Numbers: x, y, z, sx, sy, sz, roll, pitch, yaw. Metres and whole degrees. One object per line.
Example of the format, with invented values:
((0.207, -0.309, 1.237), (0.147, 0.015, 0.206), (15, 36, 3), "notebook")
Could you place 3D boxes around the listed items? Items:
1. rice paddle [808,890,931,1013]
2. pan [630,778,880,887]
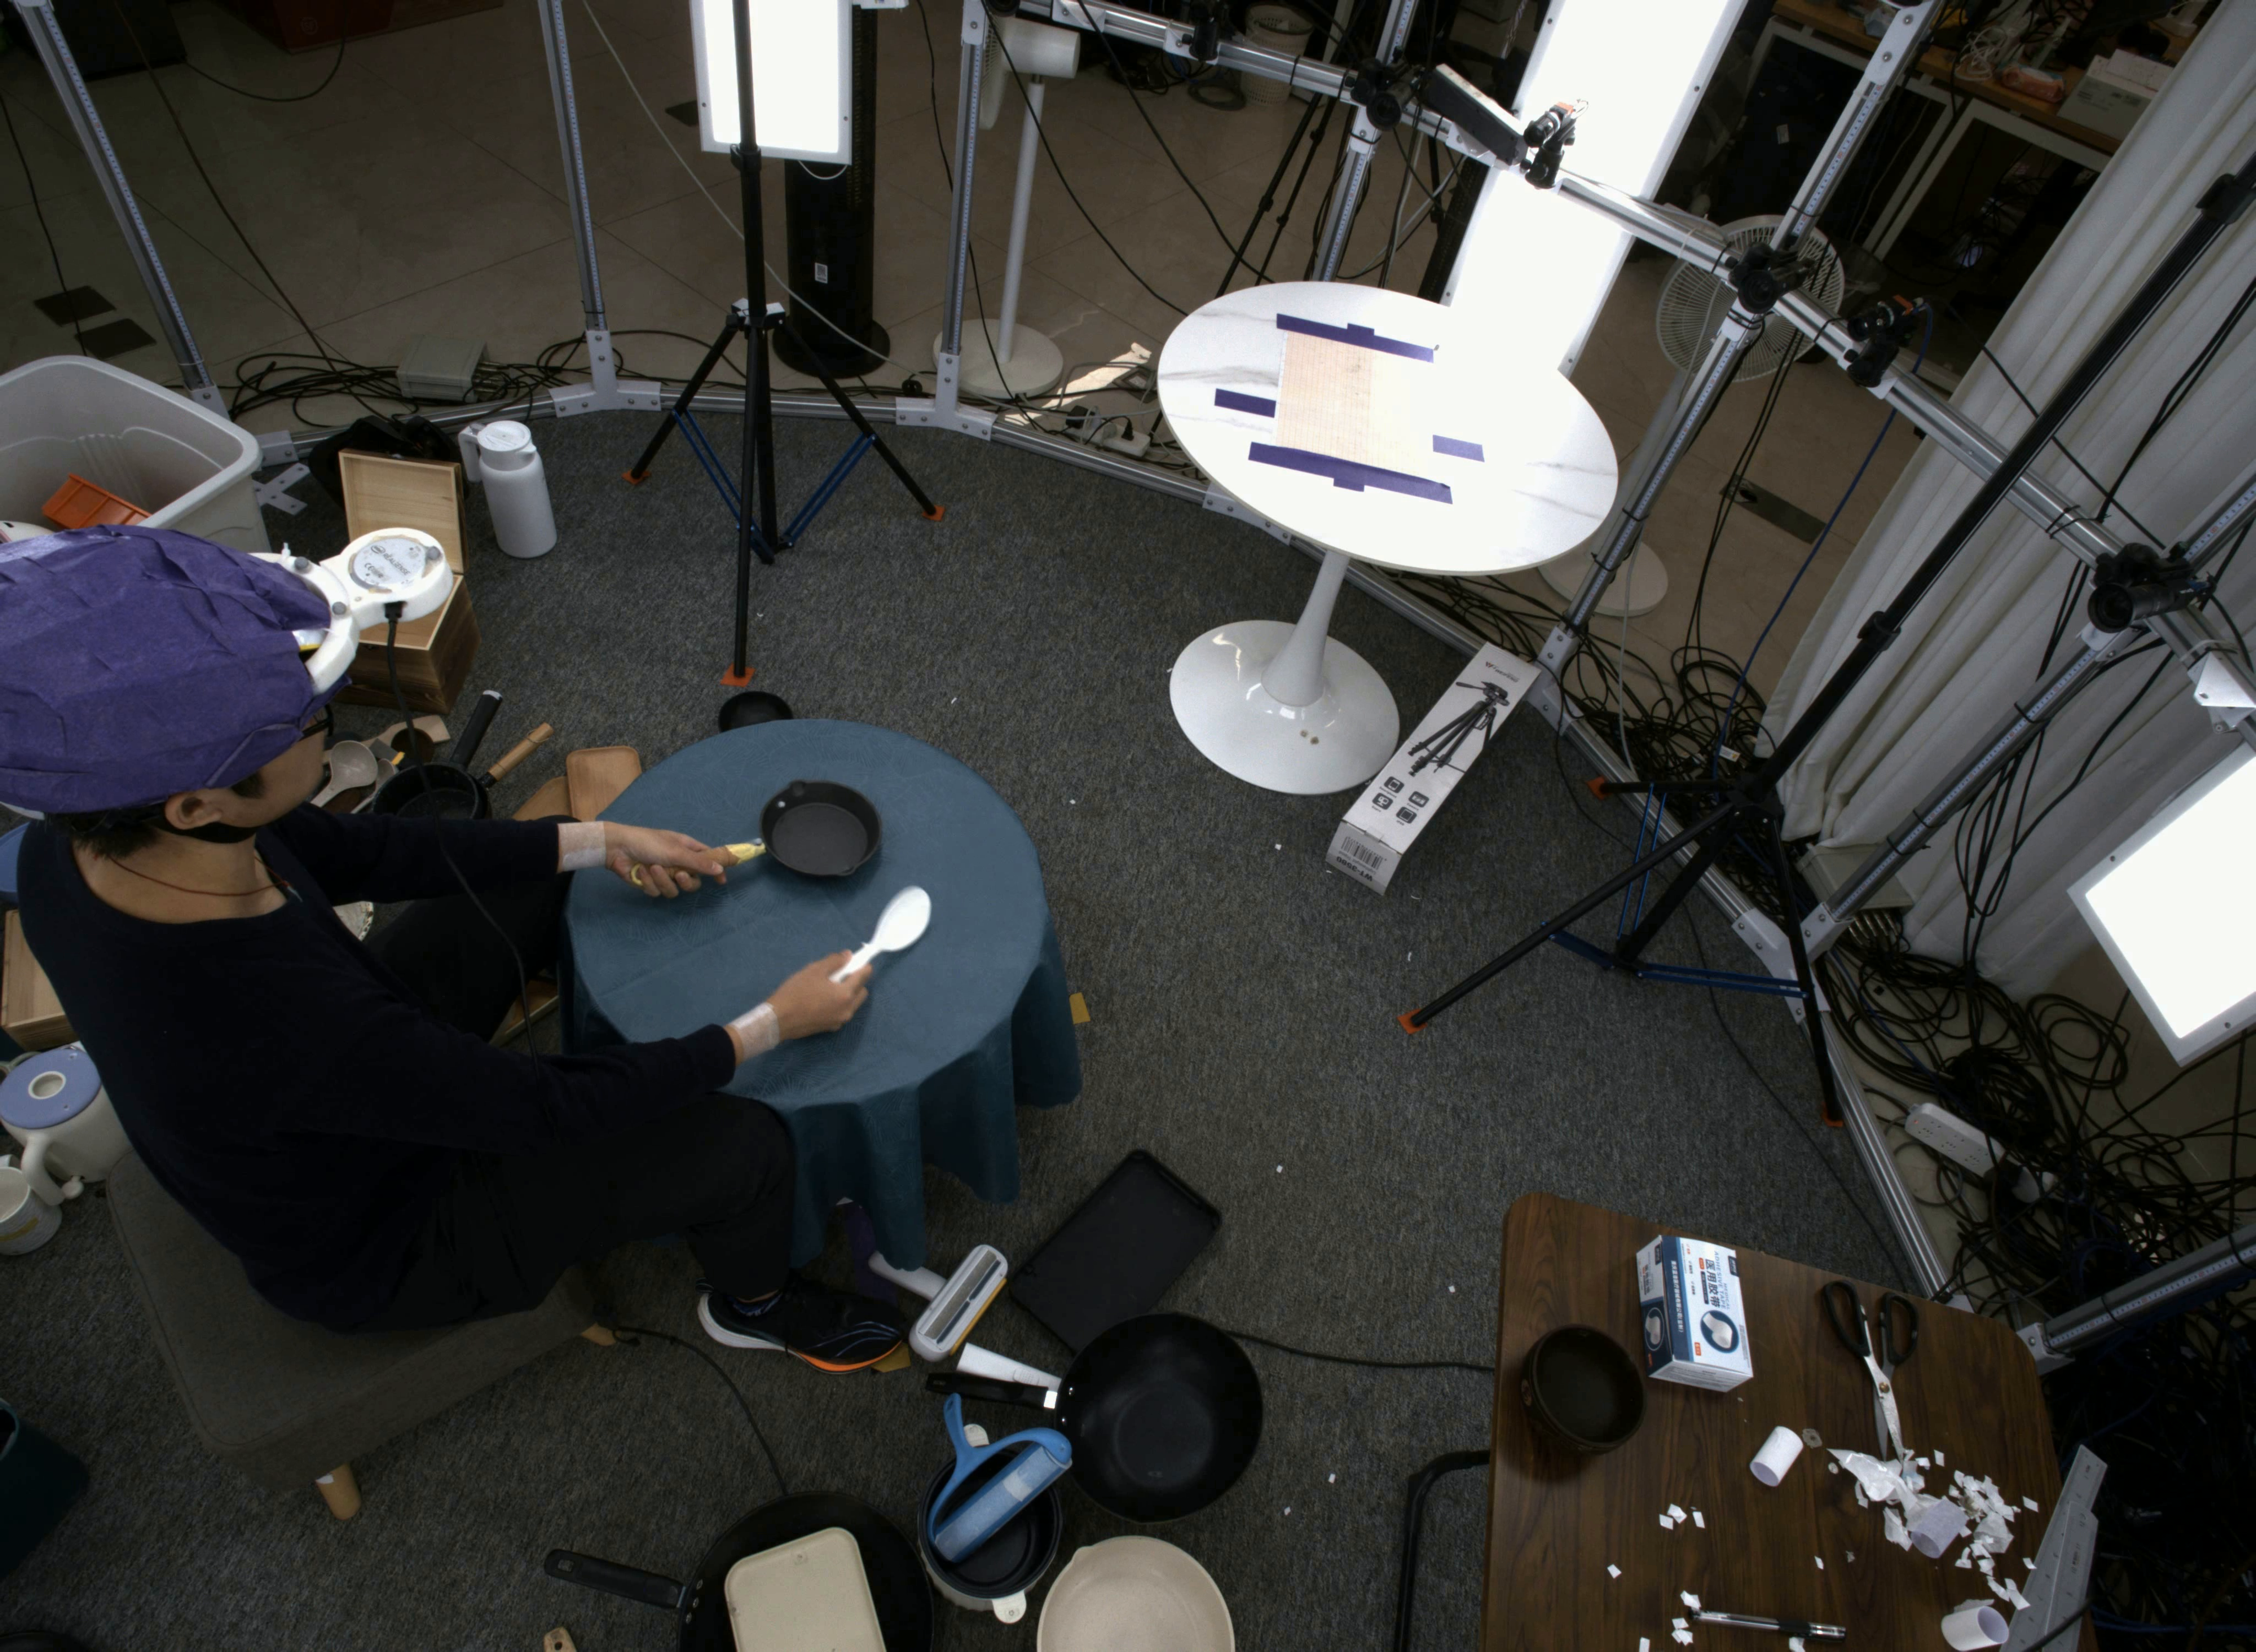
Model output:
((-0.305, 0.148, 1.580), (0.028, 0.071, 0.205), (16, 43, 32), "rice paddle")
((-0.470, 0.025, 1.638), (0.327, 0.050, 0.165), (-17, 60, -32), "pan")
